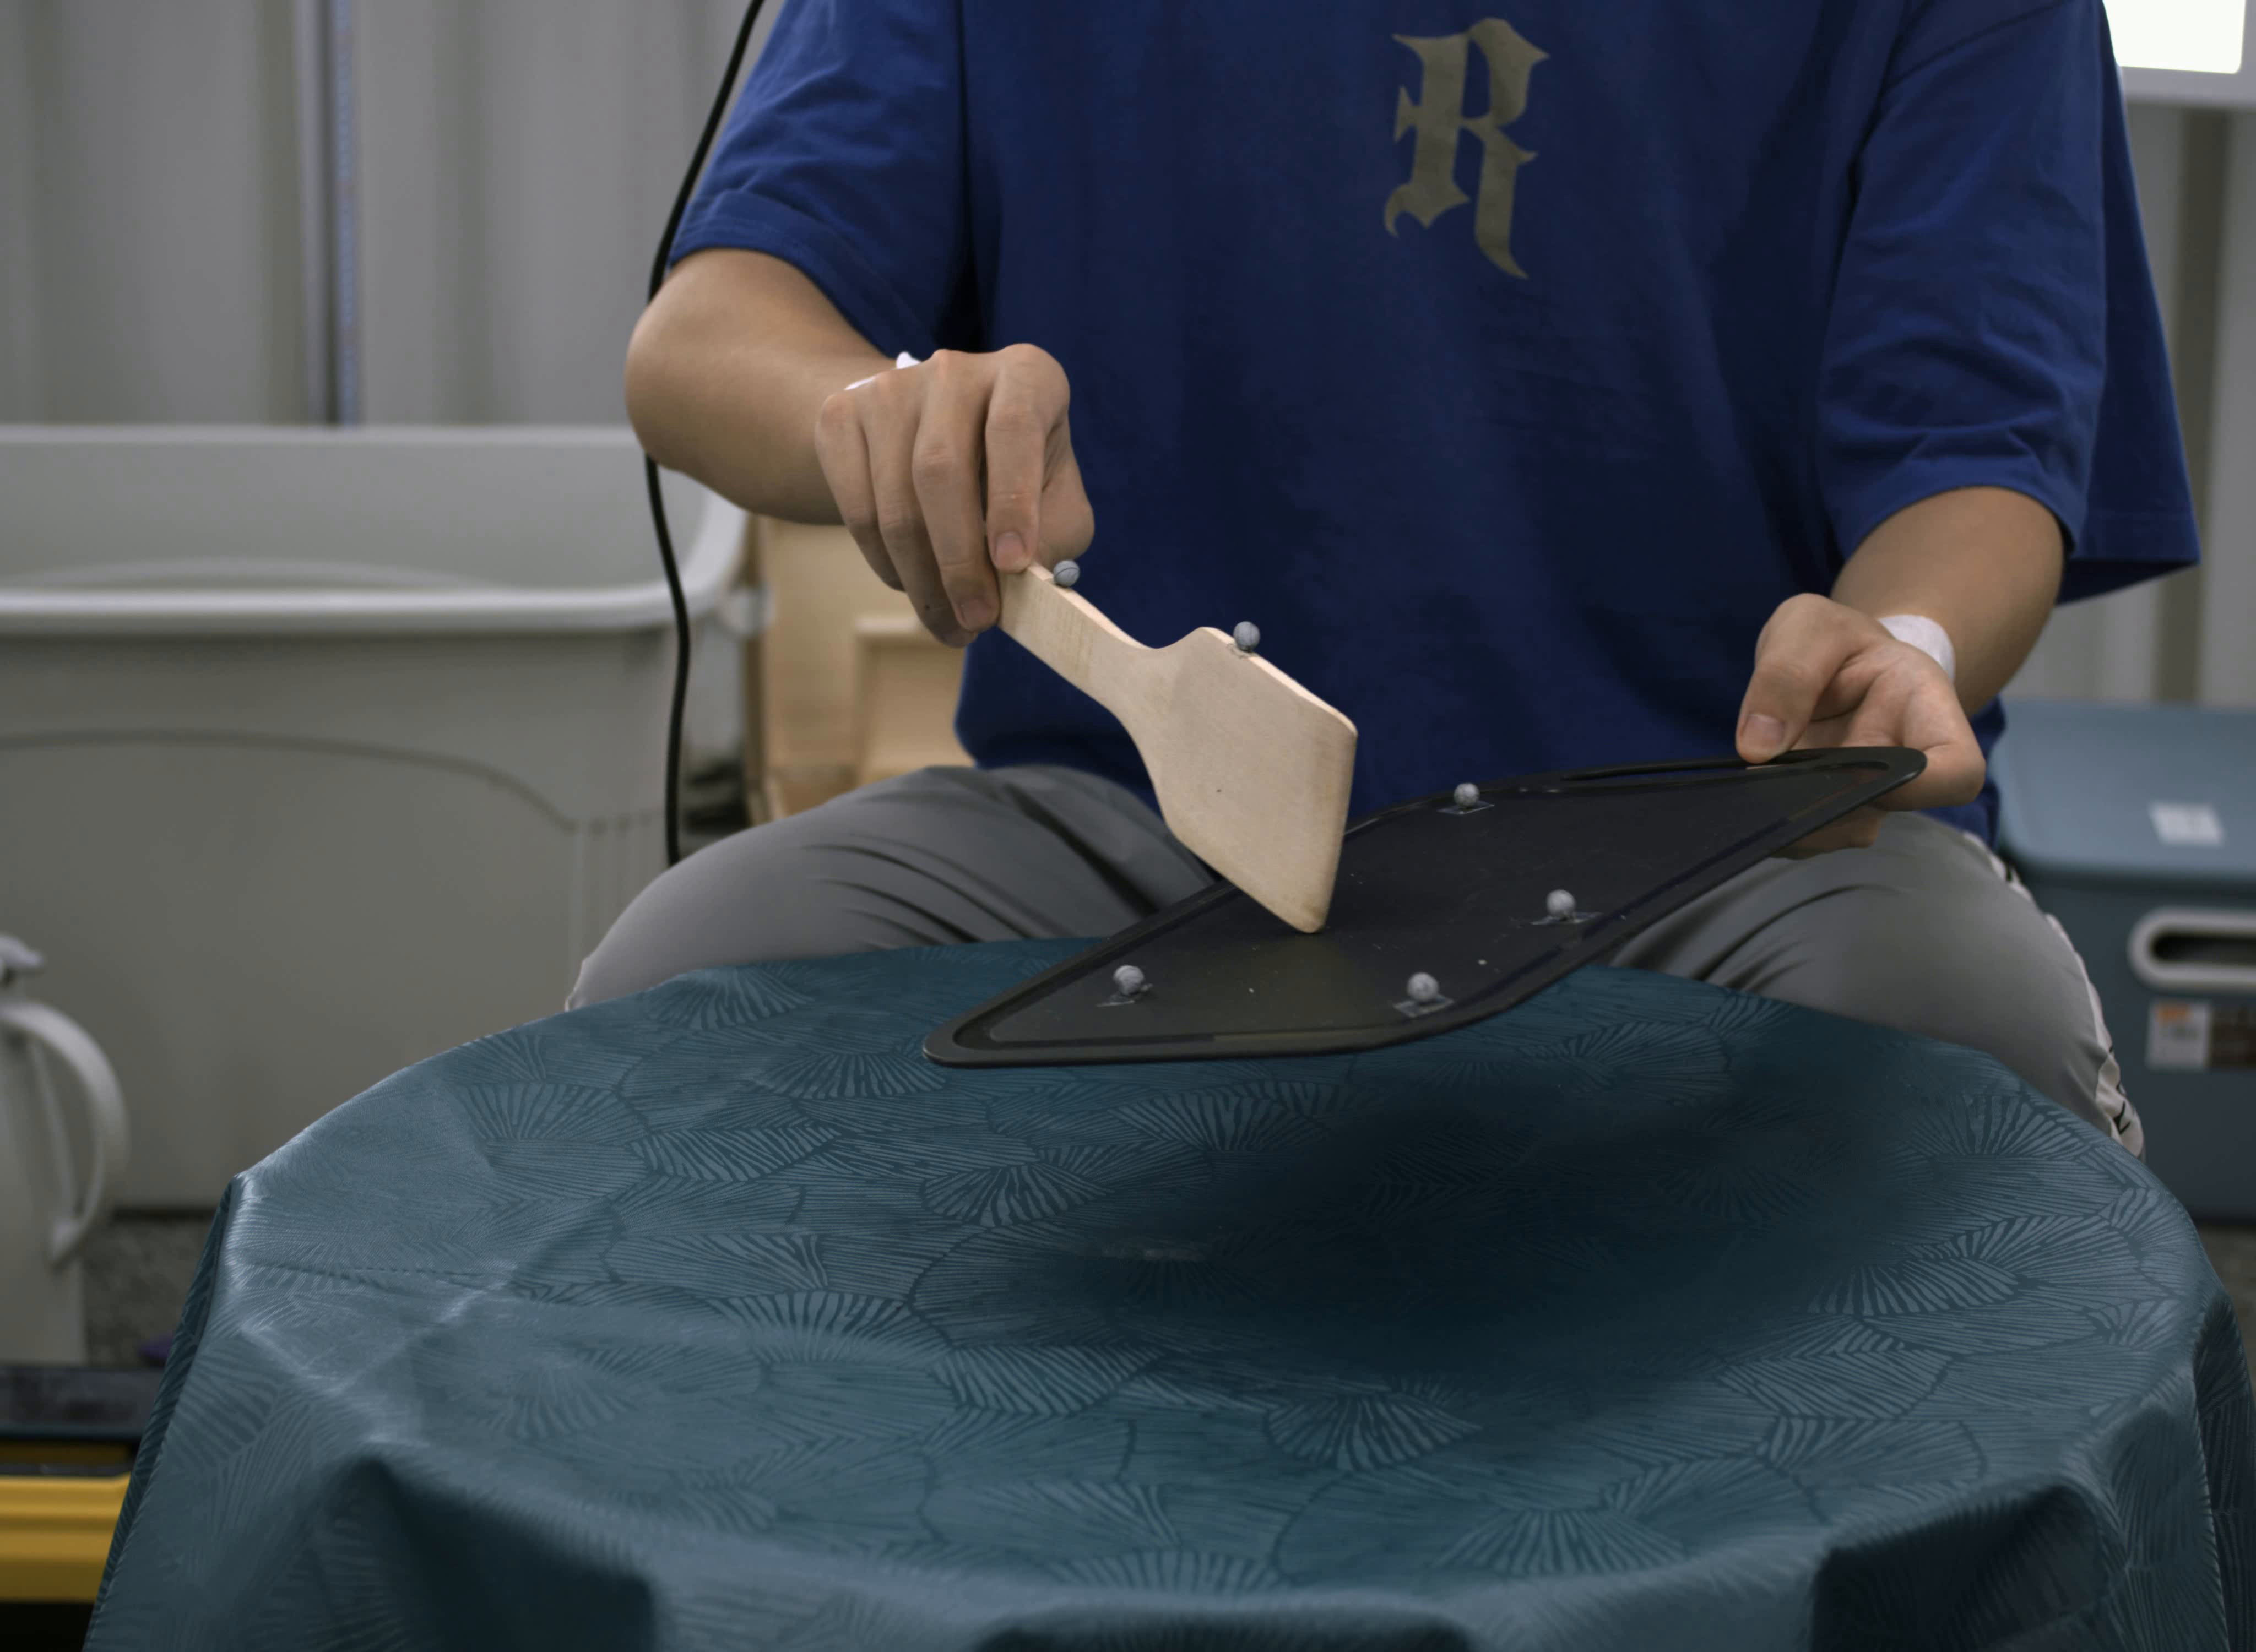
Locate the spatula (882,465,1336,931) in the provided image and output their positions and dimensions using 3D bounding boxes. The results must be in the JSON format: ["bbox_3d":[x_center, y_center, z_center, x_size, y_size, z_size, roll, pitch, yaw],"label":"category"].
[{"bbox_3d":[-0.013,-0.056,1.665,0.011,0.073,0.289,-4,26,-29],"label":"spatula"}]

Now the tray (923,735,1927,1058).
[{"bbox_3d":[0.097,0.016,1.591,0.209,0.010,0.326,-4,13,40],"label":"tray"}]
